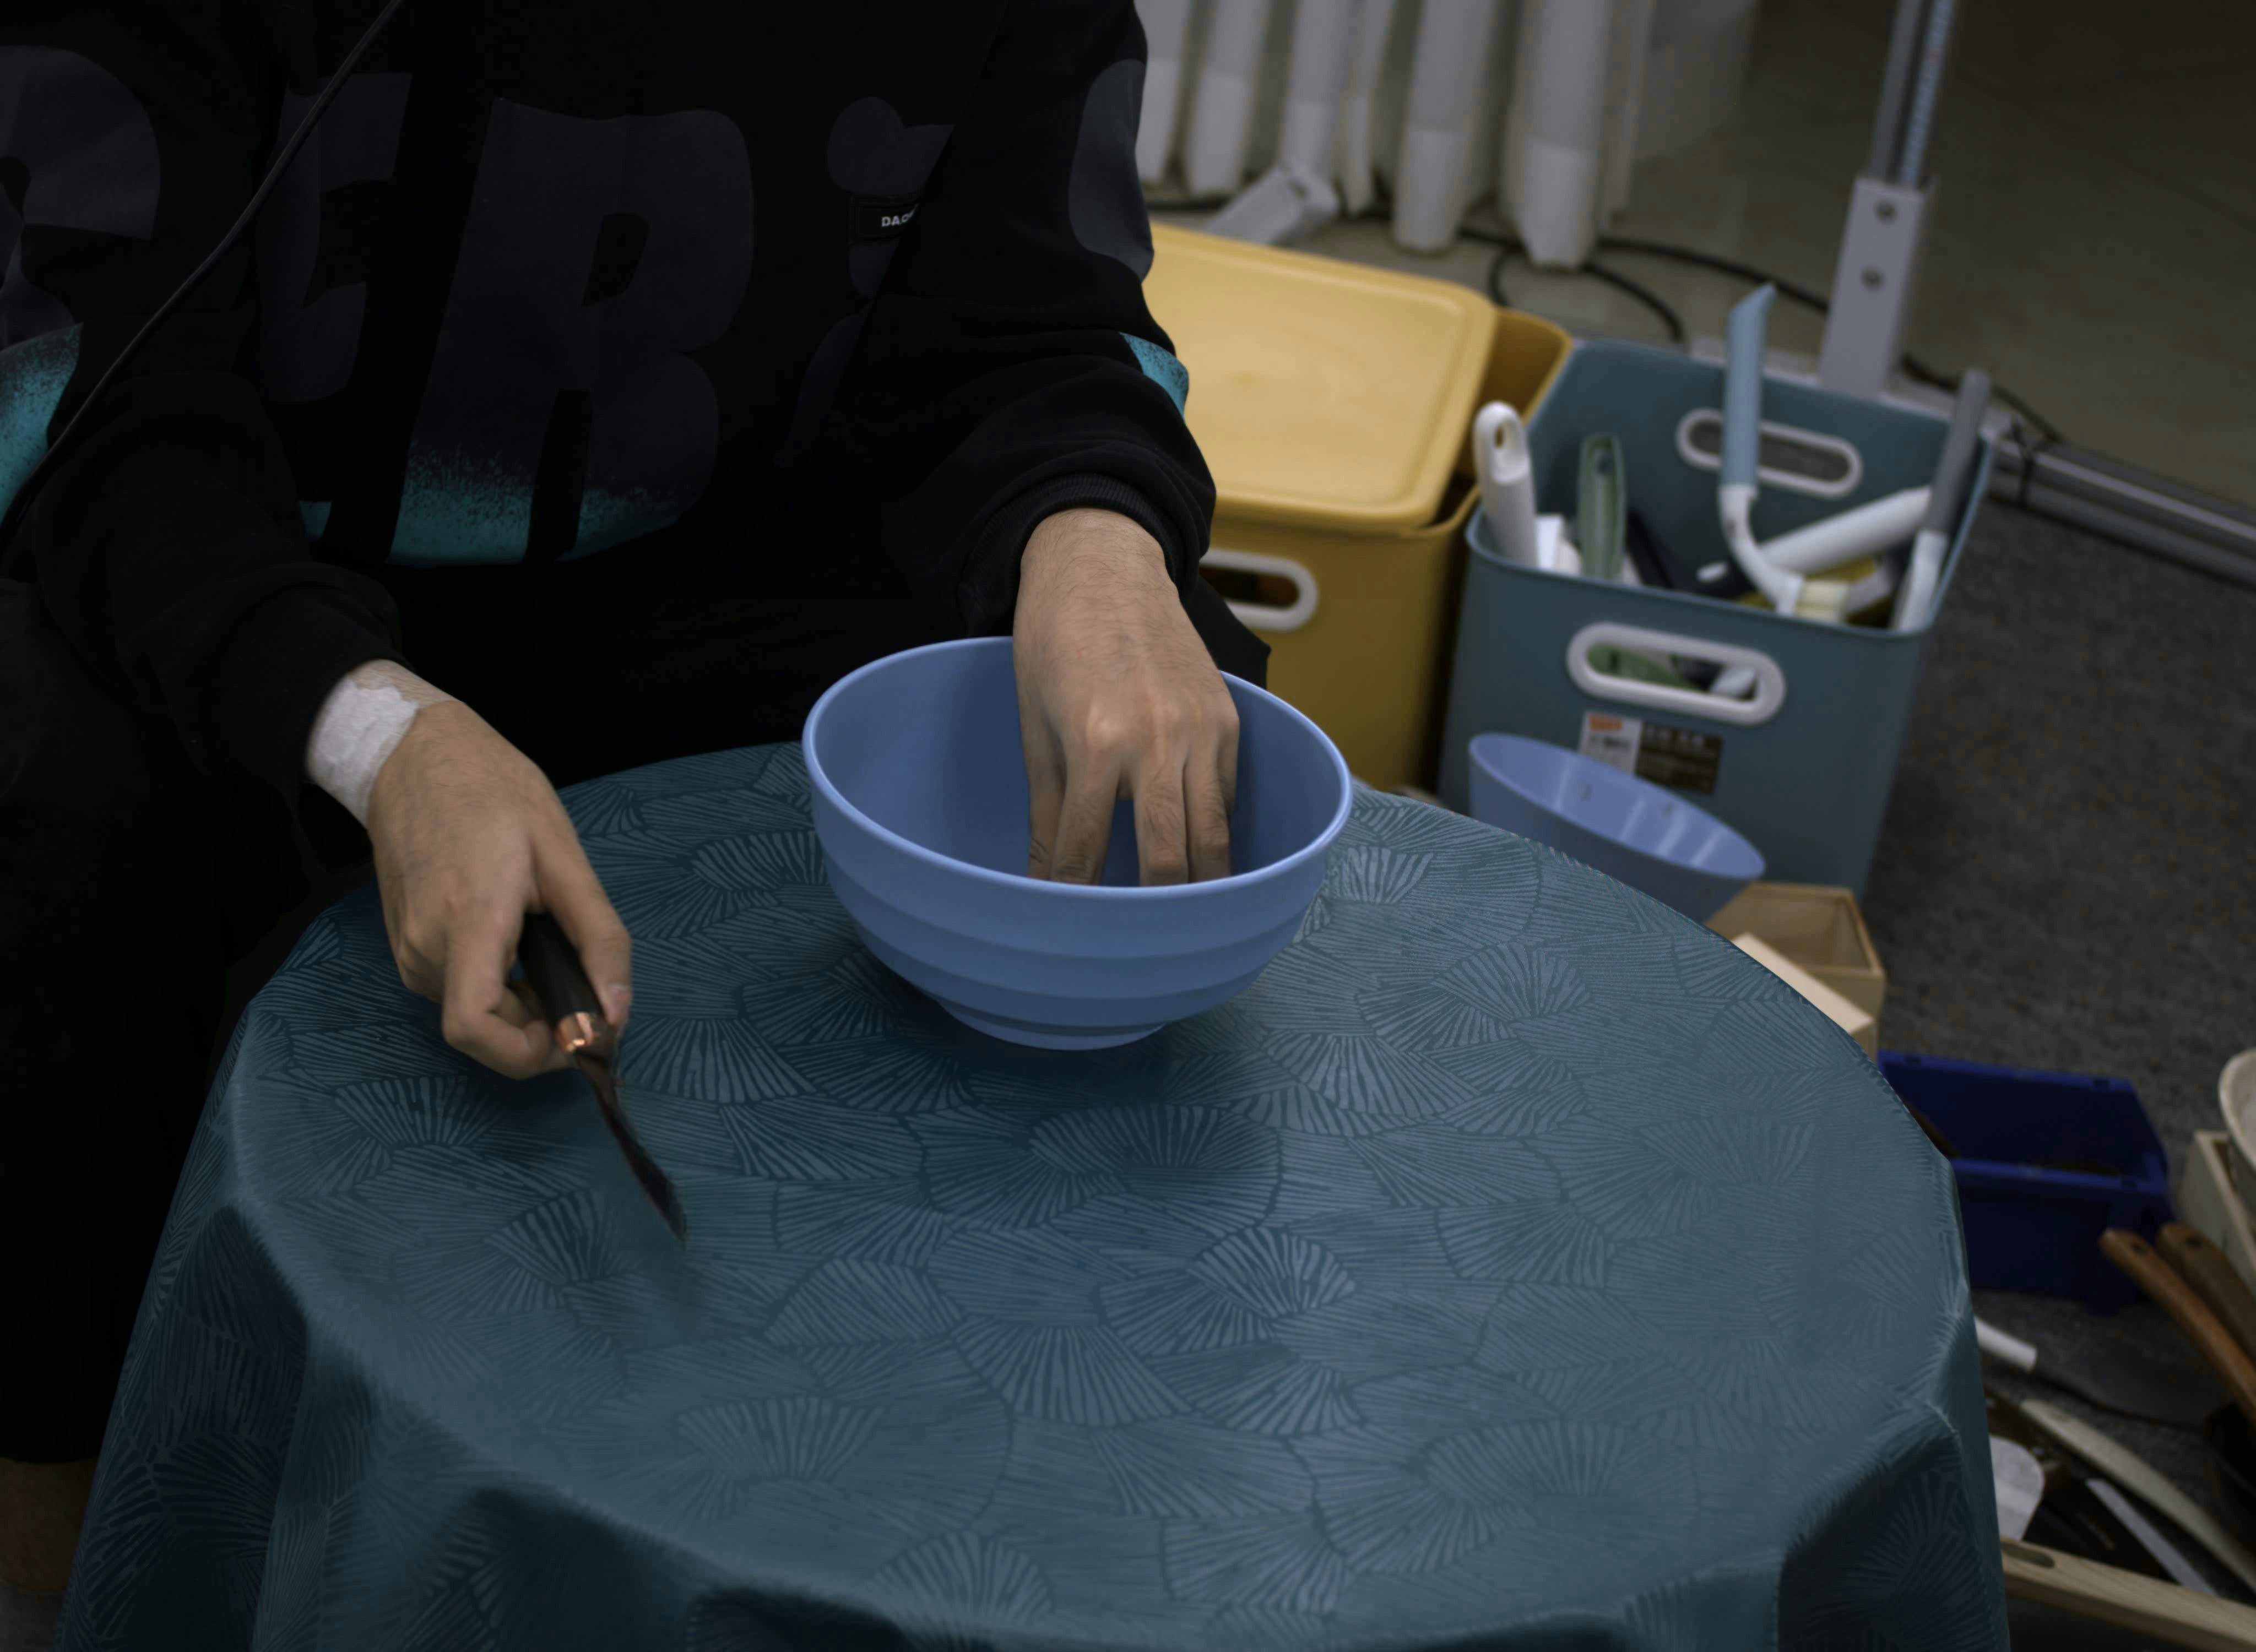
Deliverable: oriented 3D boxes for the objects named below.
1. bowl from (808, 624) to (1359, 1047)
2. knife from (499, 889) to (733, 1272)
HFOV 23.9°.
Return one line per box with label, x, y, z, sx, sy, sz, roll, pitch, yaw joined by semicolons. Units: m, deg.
bowl;-0.022;0.015;1.901;0.196;0.095;0.198;7;29;-4
knife;-0.172;0.082;1.766;0.026;0.017;0.227;24;18;-33
